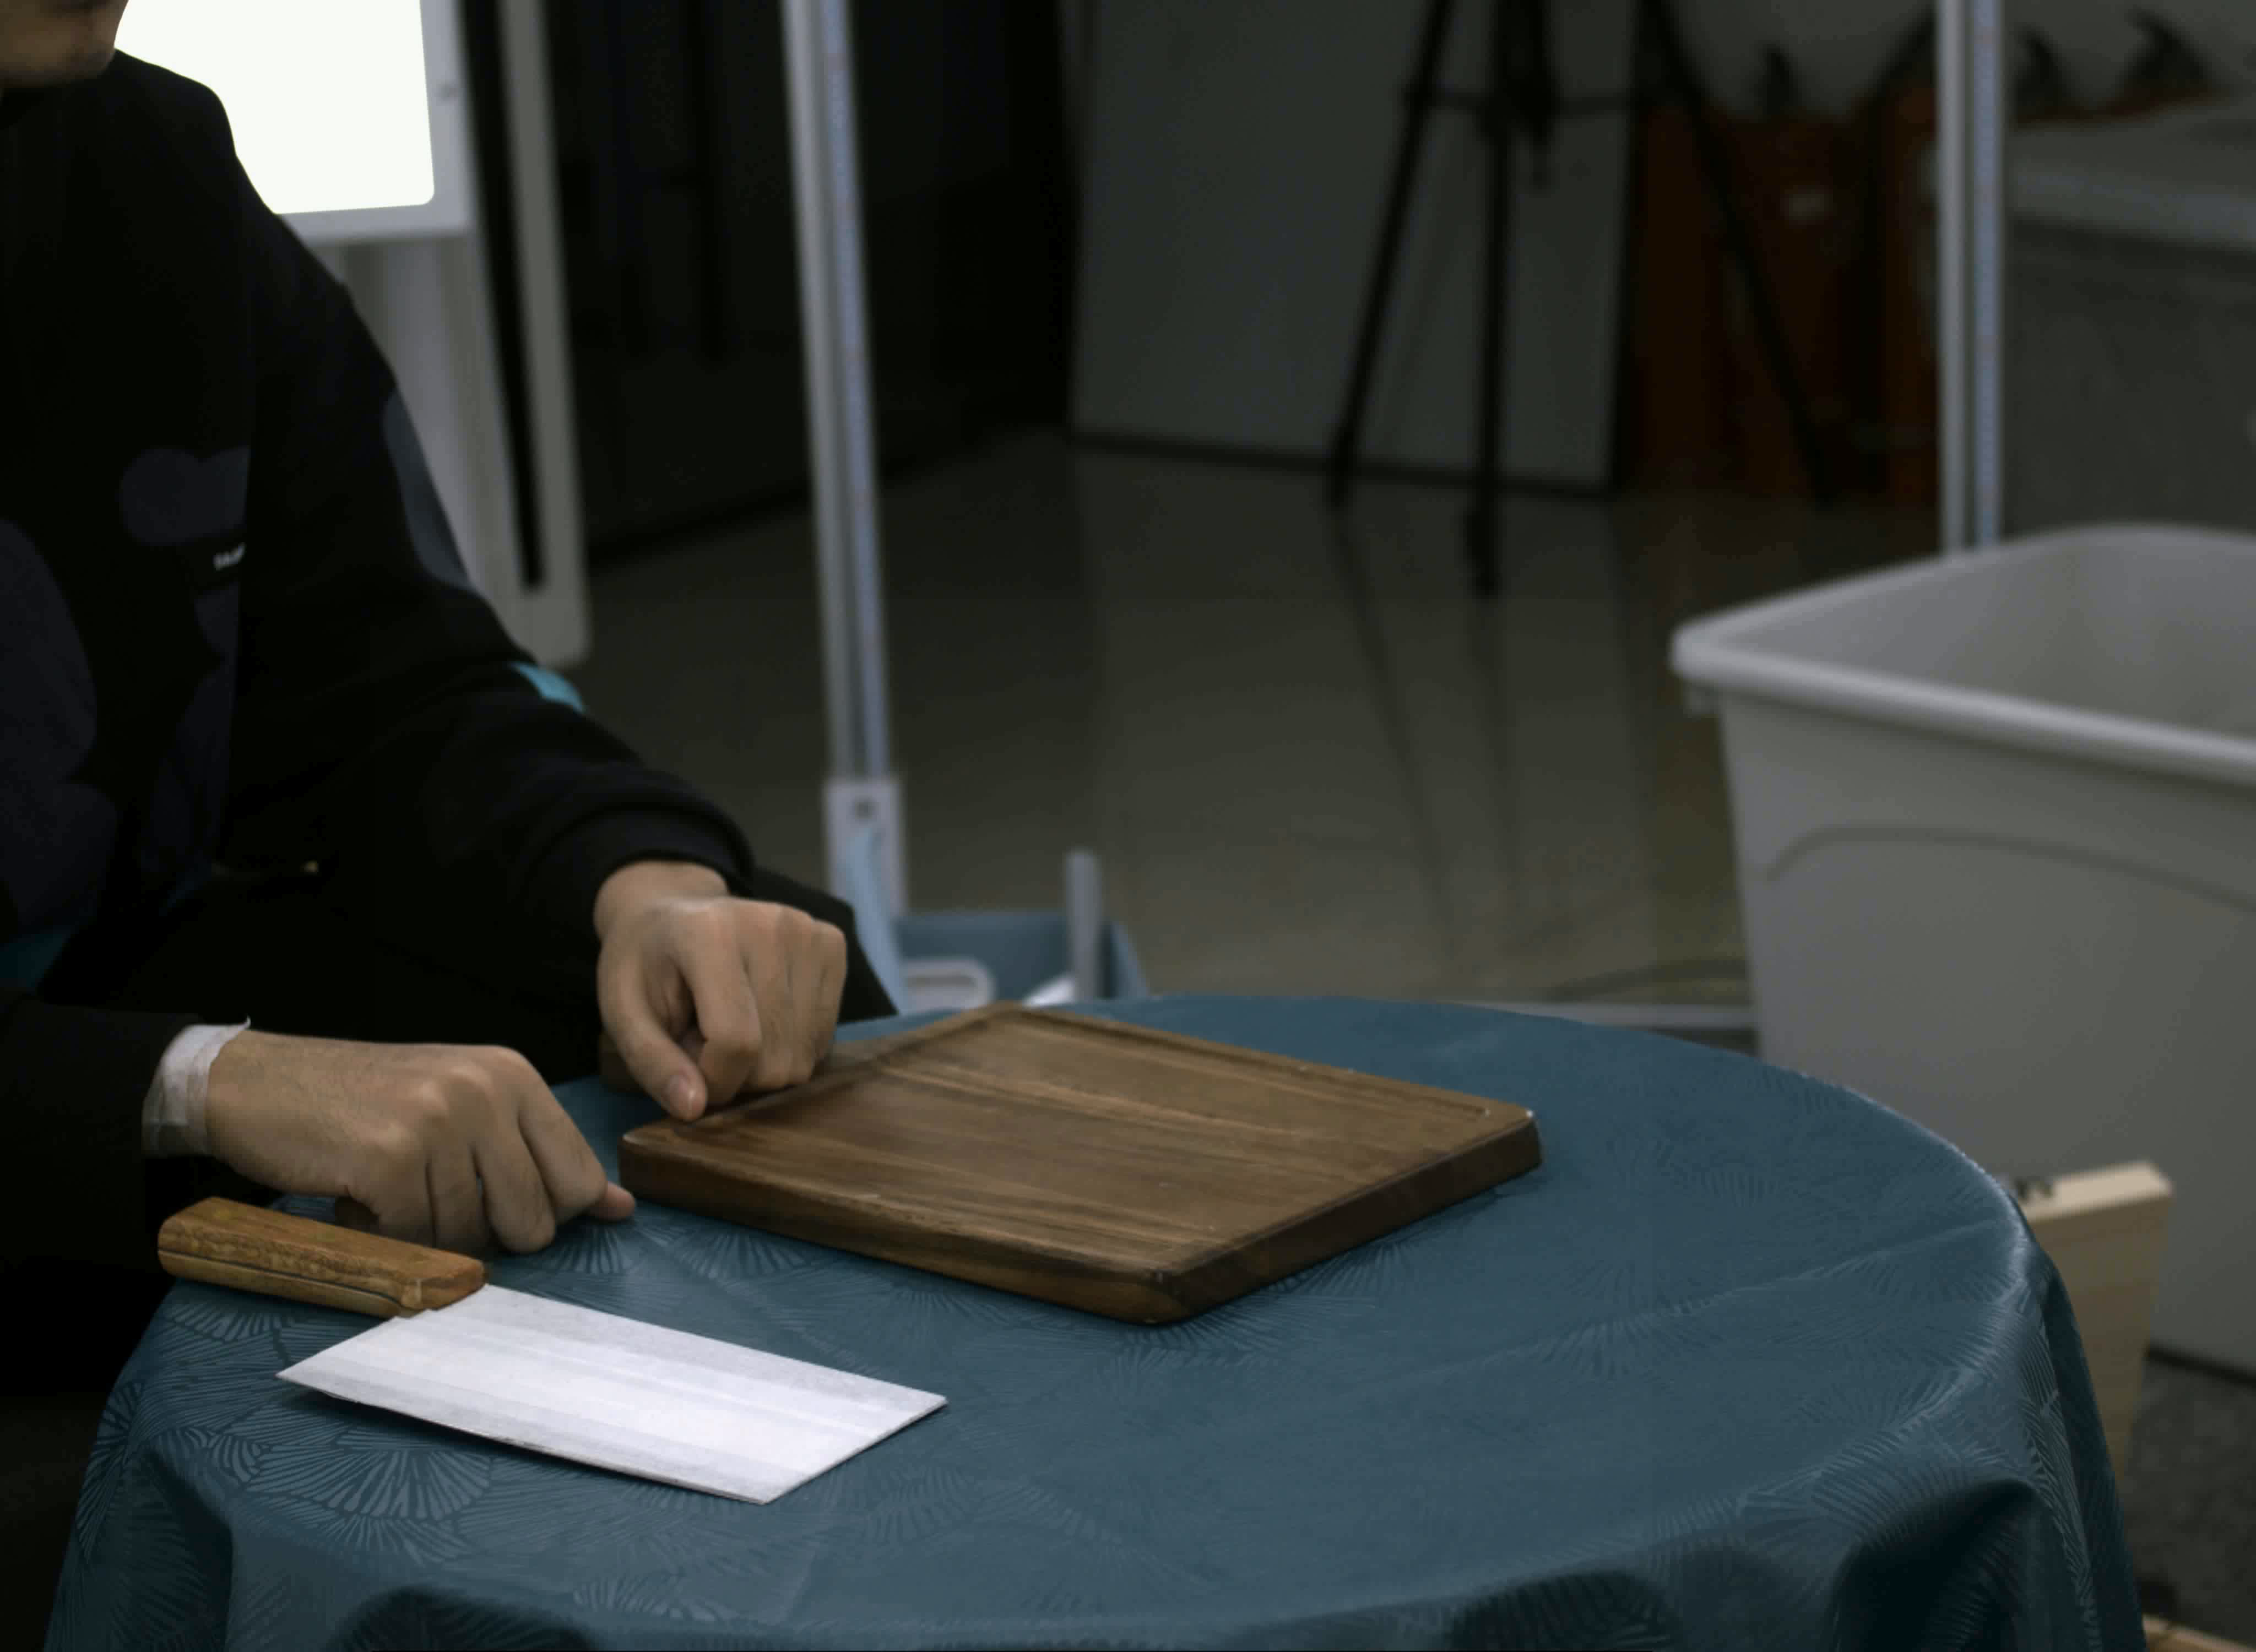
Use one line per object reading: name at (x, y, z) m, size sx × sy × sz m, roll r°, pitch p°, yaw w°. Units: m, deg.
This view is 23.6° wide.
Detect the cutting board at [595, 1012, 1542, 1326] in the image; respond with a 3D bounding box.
cutting board at (-0.052, 0.104, 1.816) m, size 0.355 × 0.023 × 0.197 m, roll 8°, pitch 19°, yaw 42°

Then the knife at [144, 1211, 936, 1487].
knife at (-0.199, 0.161, 1.640) m, size 0.308 × 0.021 × 0.091 m, roll 9°, pitch 20°, yaw 36°
